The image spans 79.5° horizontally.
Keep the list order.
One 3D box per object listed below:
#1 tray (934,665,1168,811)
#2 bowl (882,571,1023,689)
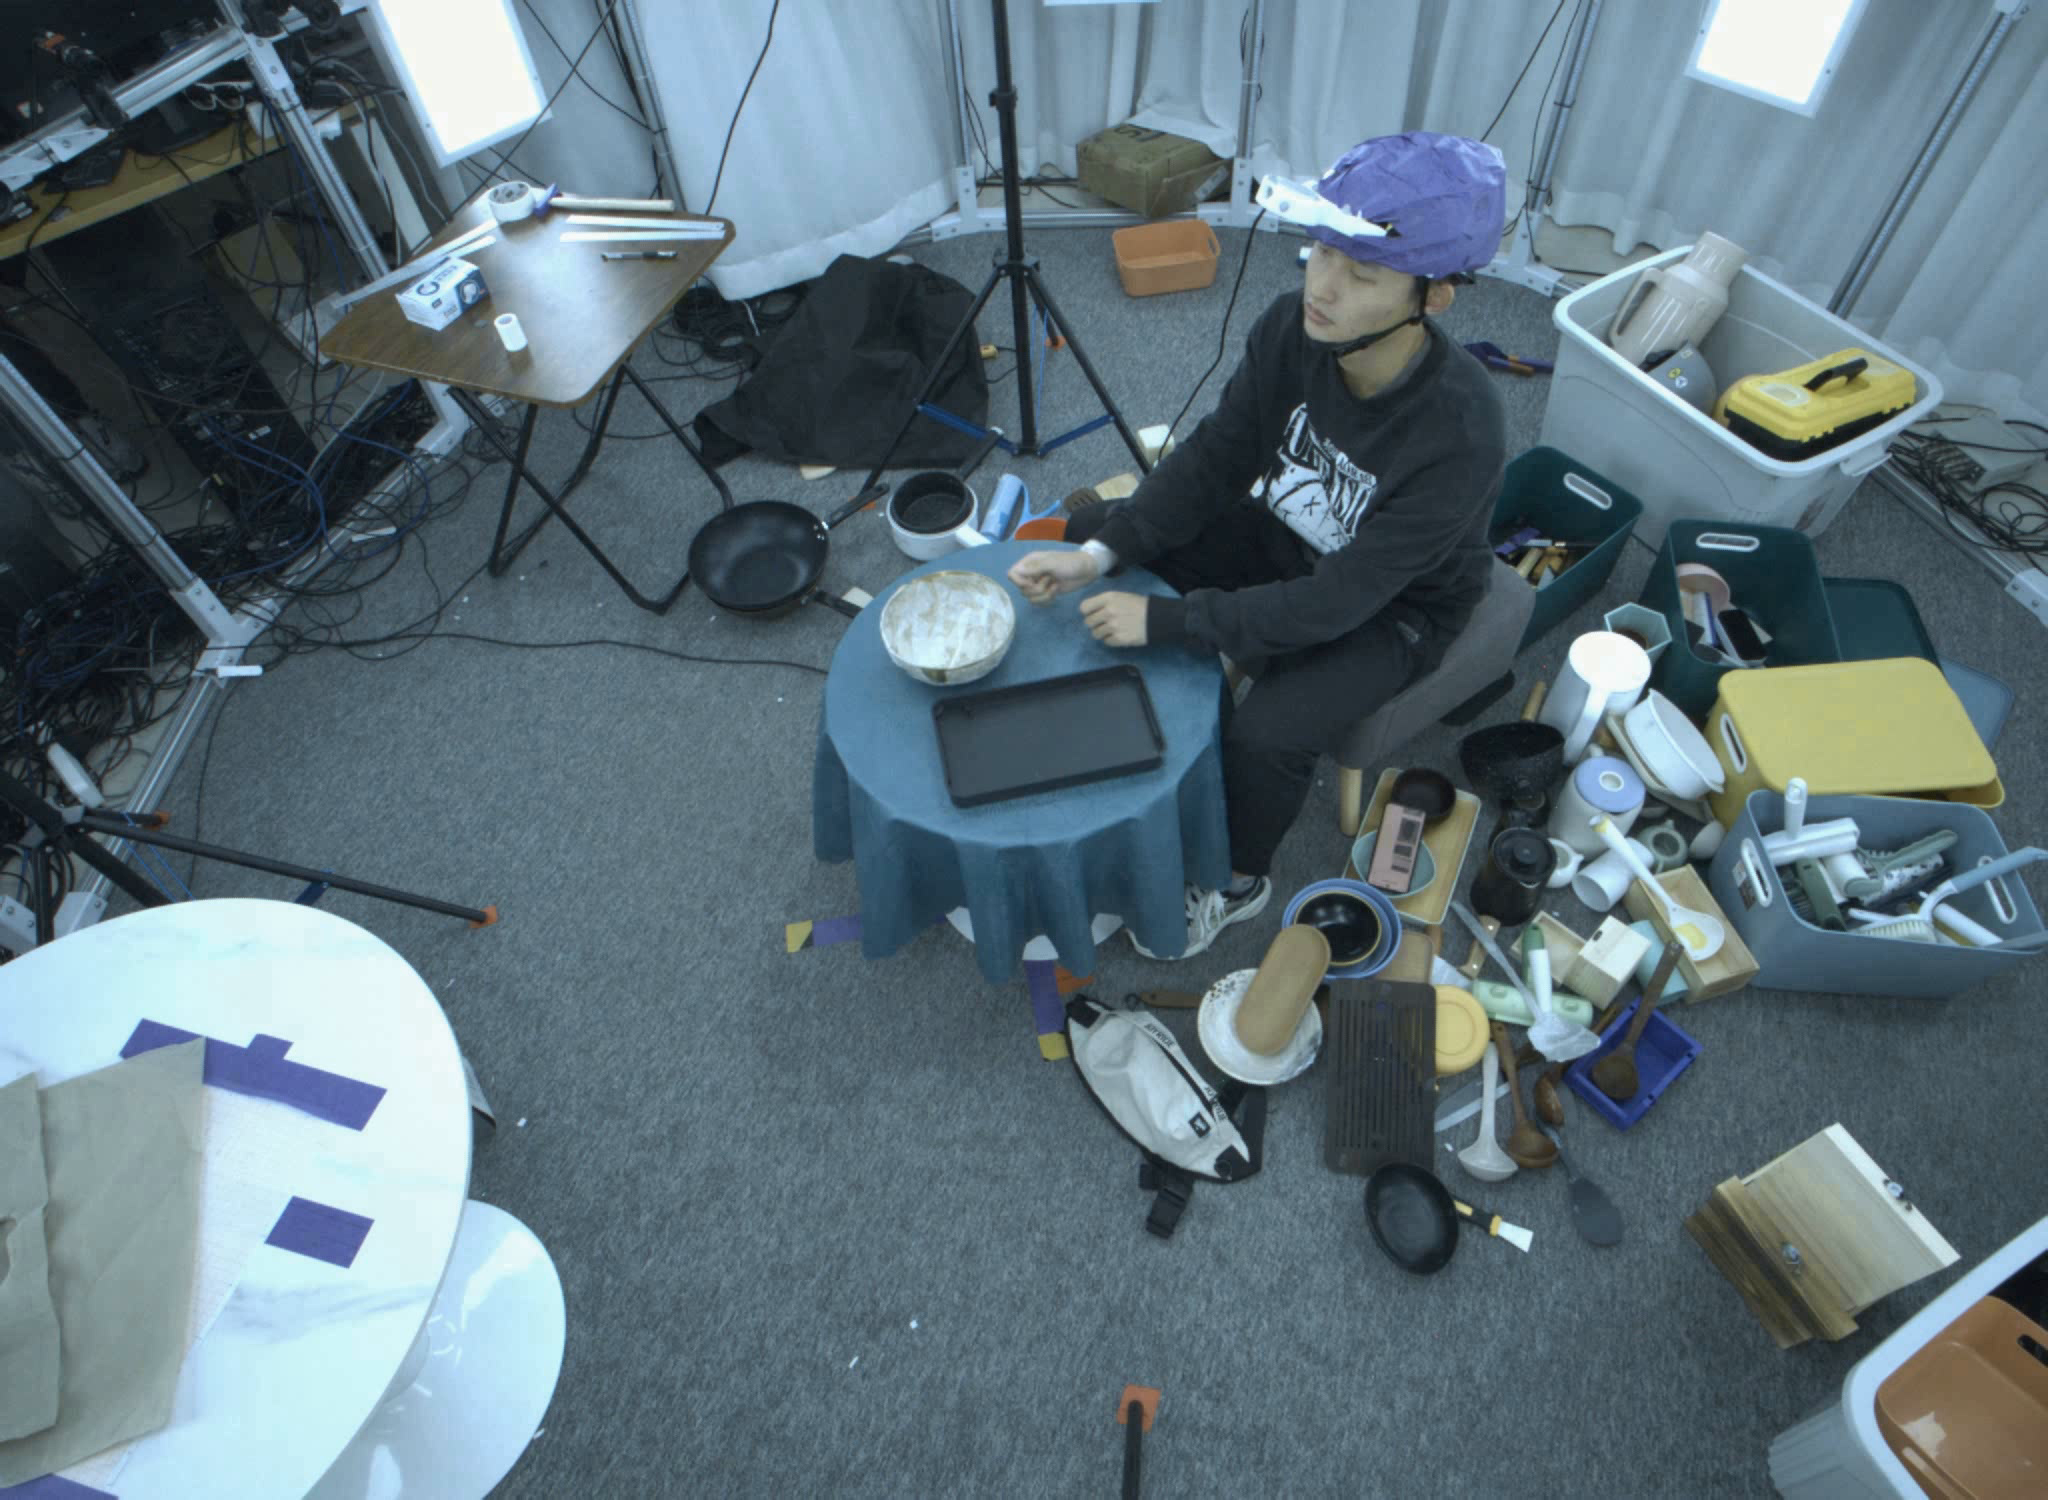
[{"bbox_3d":[0.037,-0.019,1.789,0.319,0.037,0.181,-11,55,-4],"label":"tray"},{"bbox_3d":[-0.104,-0.165,1.860,0.214,0.095,0.212,-1,54,2],"label":"bowl"}]
